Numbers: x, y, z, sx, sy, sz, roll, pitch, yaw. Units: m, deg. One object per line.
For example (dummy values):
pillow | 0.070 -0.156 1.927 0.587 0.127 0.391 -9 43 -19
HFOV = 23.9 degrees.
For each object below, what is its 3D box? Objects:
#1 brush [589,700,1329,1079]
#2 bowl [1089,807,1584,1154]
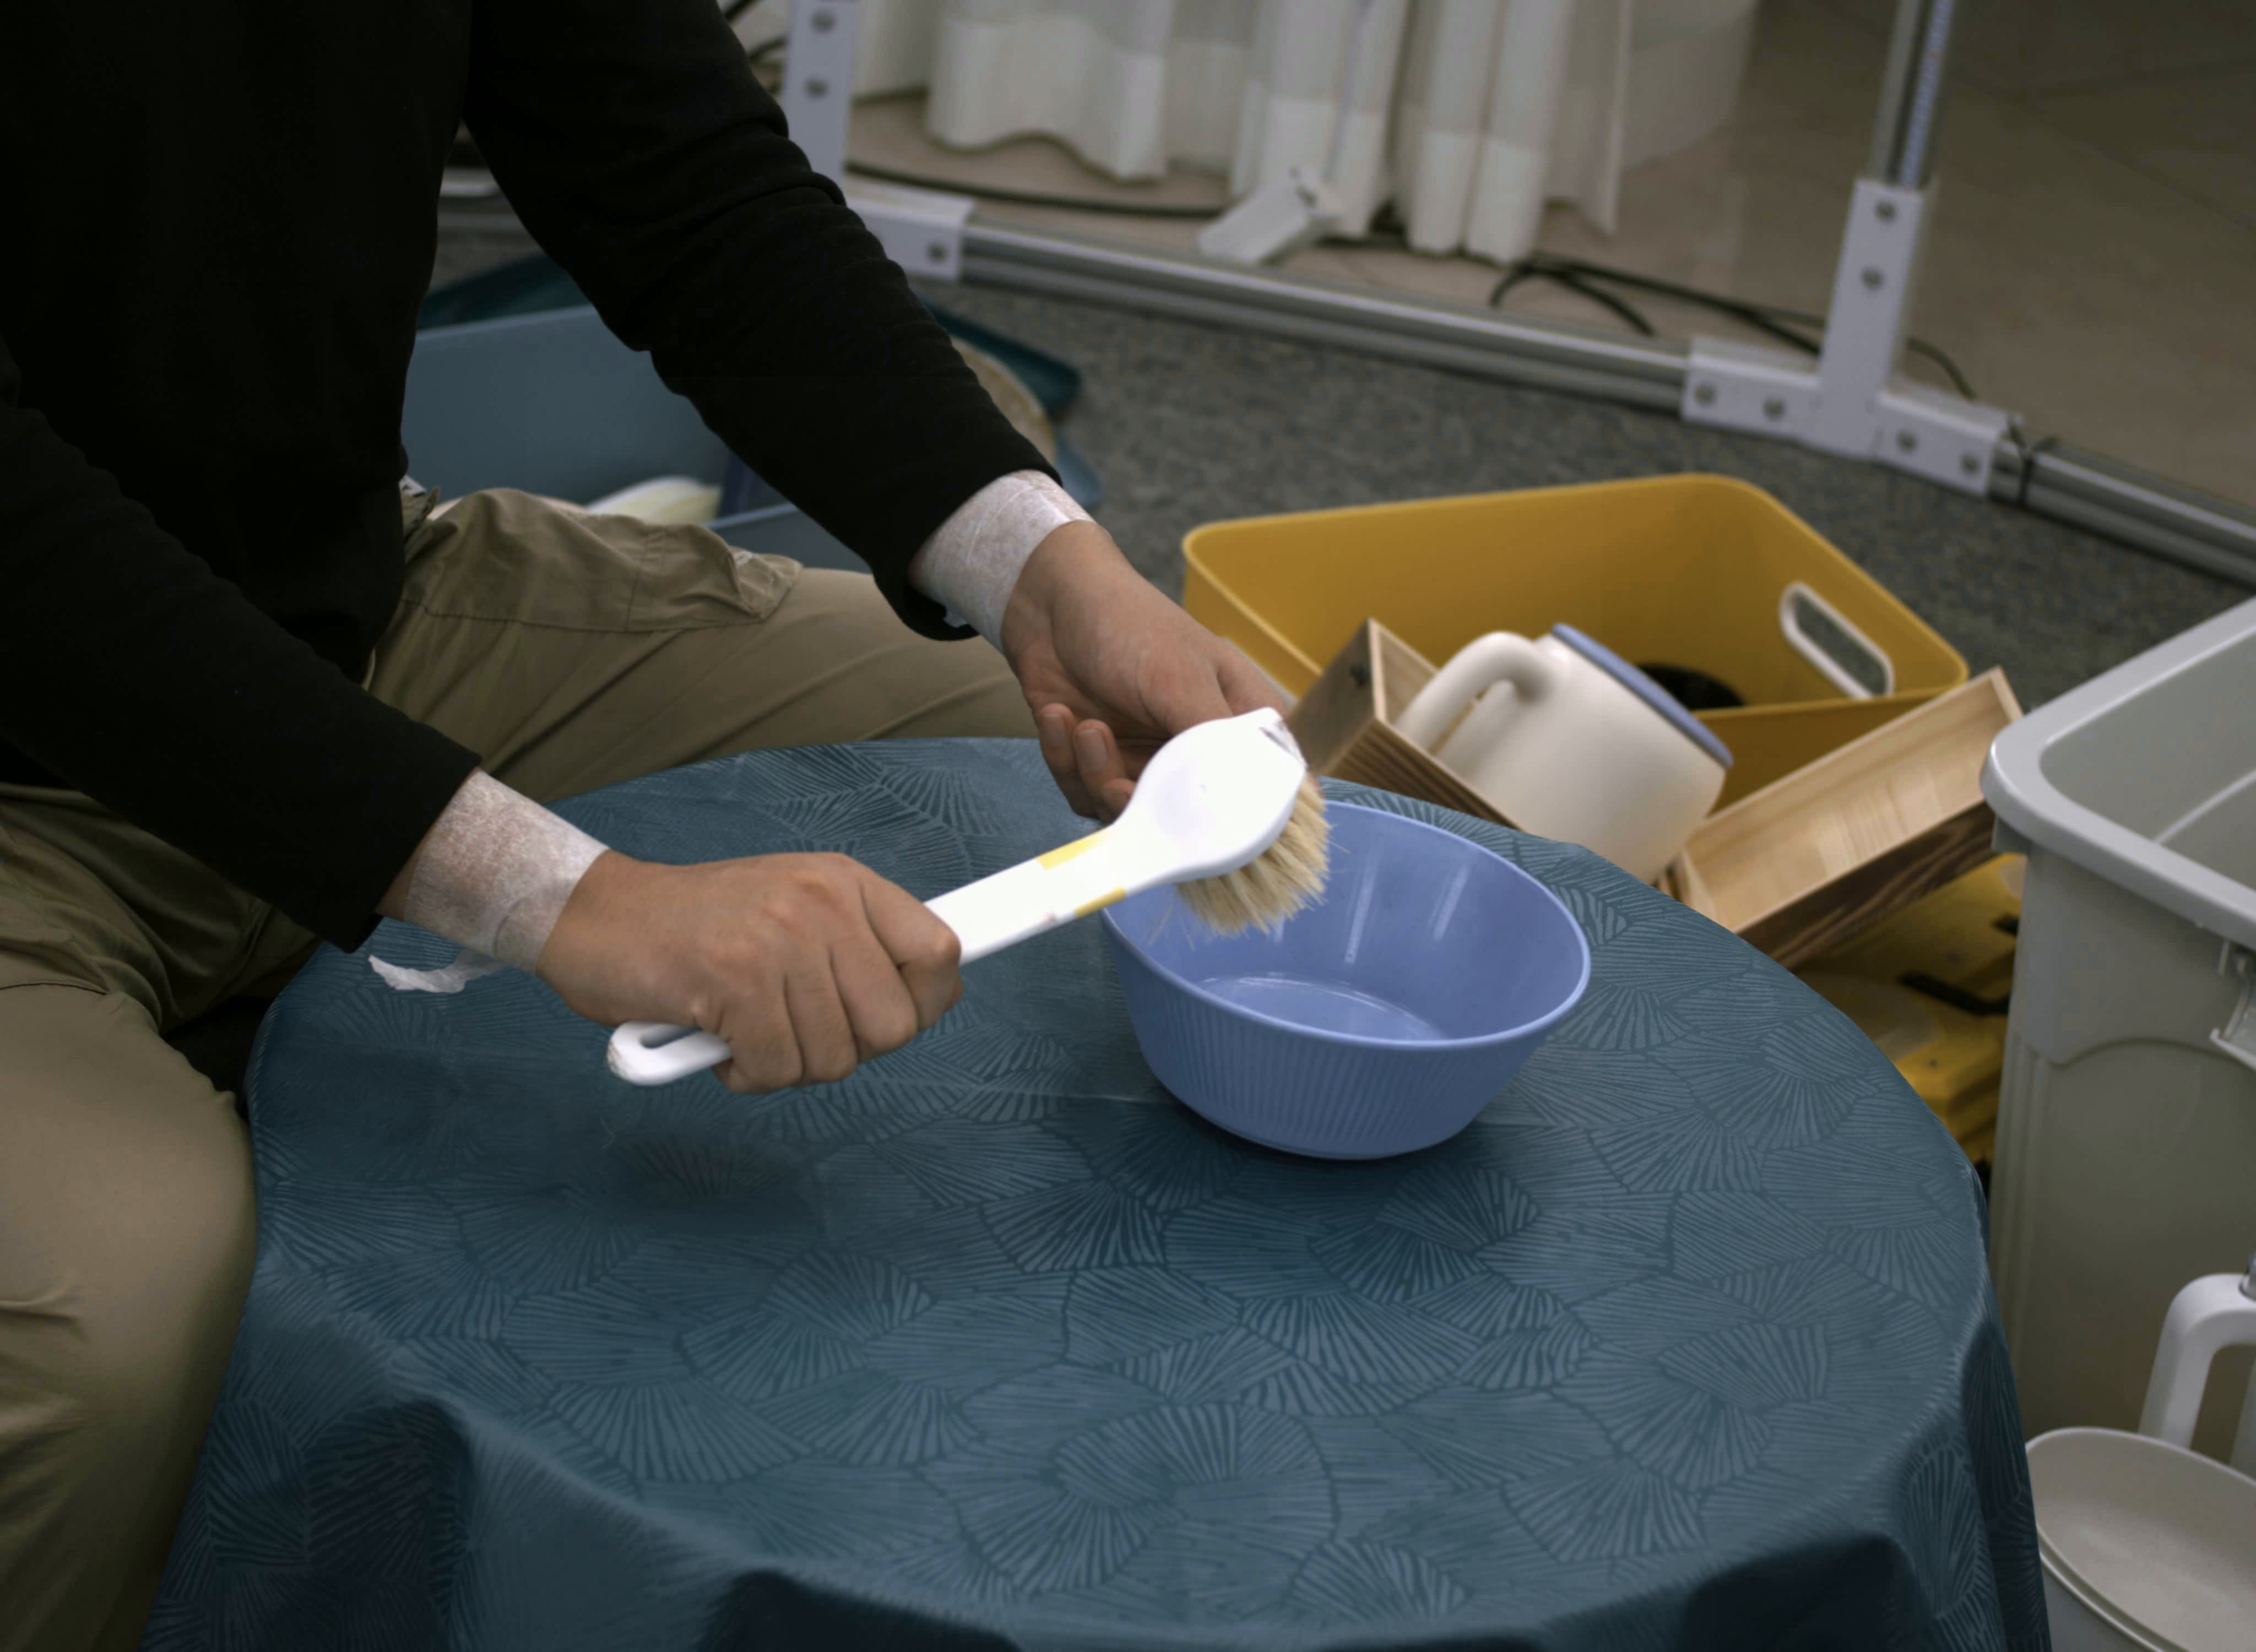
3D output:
brush | -0.054 0.037 1.775 0.266 0.056 0.069 -26 43 -13
bowl | 0.067 0.058 1.858 0.175 0.070 0.177 9 25 -4
